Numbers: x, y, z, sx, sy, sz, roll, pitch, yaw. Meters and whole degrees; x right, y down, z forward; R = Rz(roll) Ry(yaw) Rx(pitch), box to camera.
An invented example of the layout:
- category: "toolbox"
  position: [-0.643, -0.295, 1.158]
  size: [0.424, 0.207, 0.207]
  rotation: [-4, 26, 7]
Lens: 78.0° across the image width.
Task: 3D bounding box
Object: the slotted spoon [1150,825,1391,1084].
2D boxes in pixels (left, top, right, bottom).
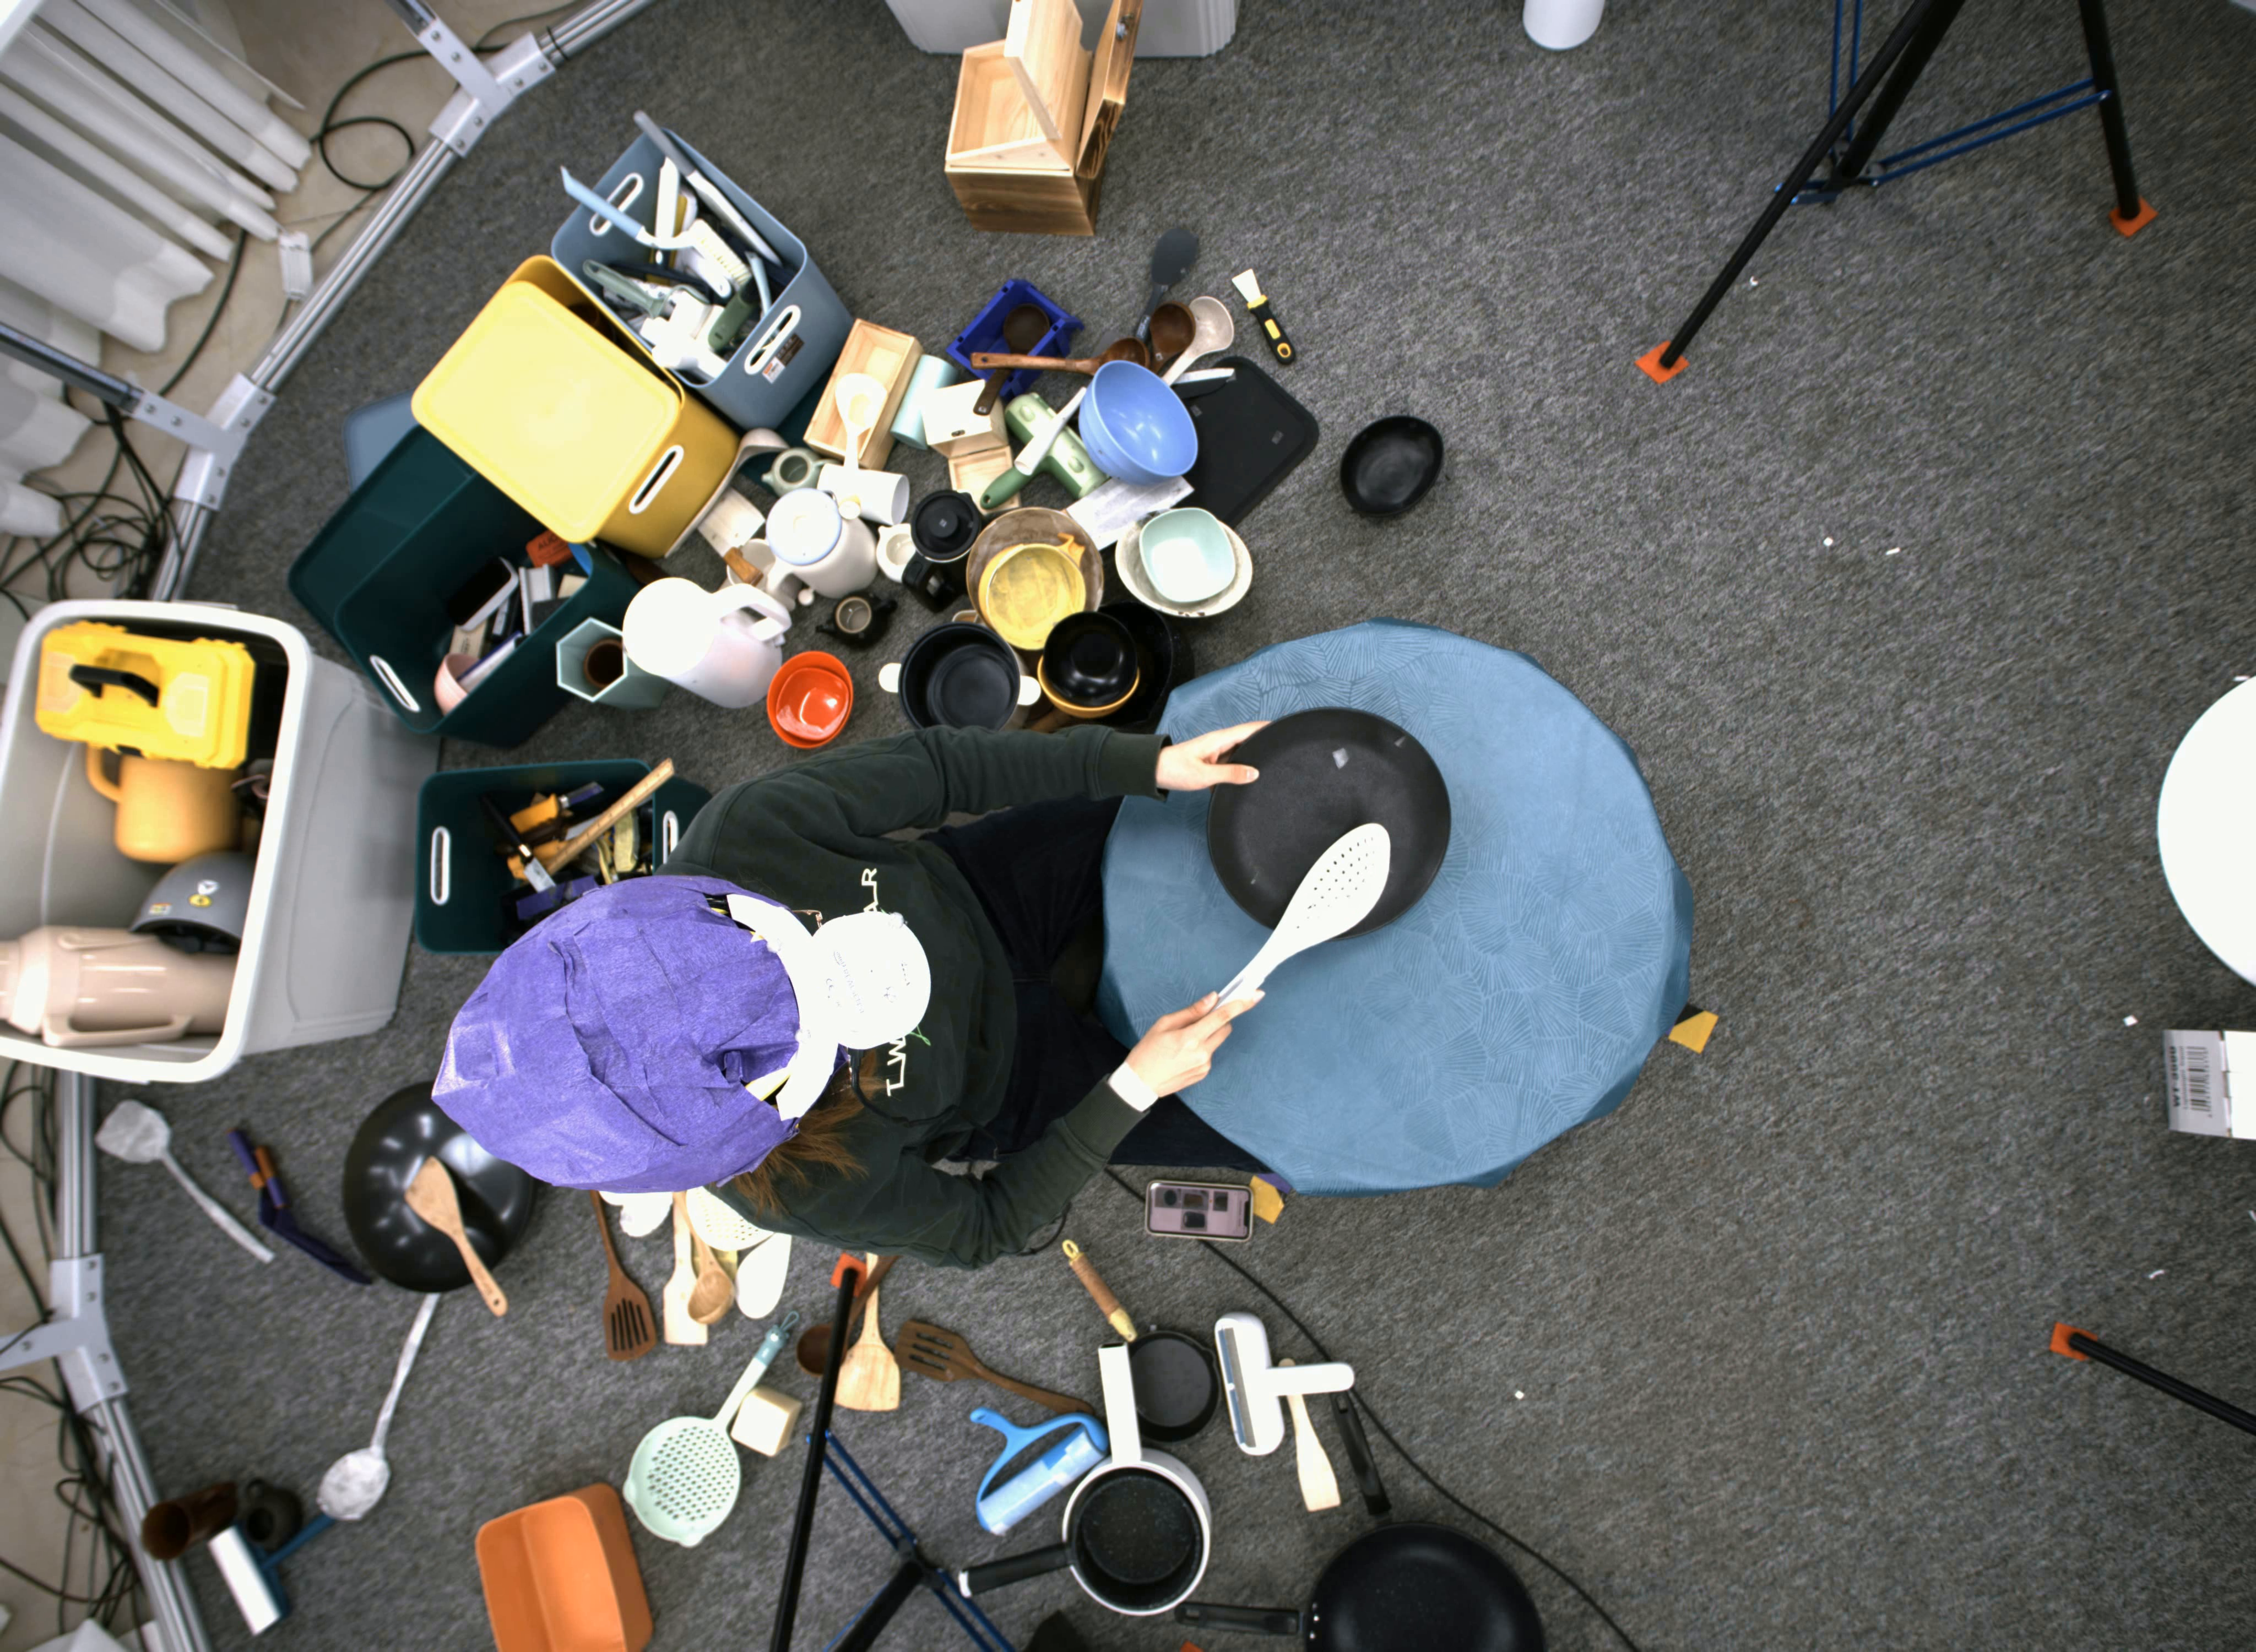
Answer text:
- category: "slotted spoon"
  position: [0.139, 0.134, 1.369]
  size: [0.046, 0.133, 0.354]
  rotation: [42, 108, -14]

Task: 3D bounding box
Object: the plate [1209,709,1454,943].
- category: "plate"
  position: [0.203, 0.000, 1.382]
  size: [0.245, 0.023, 0.248]
  rotation: [0, 109, 1]
